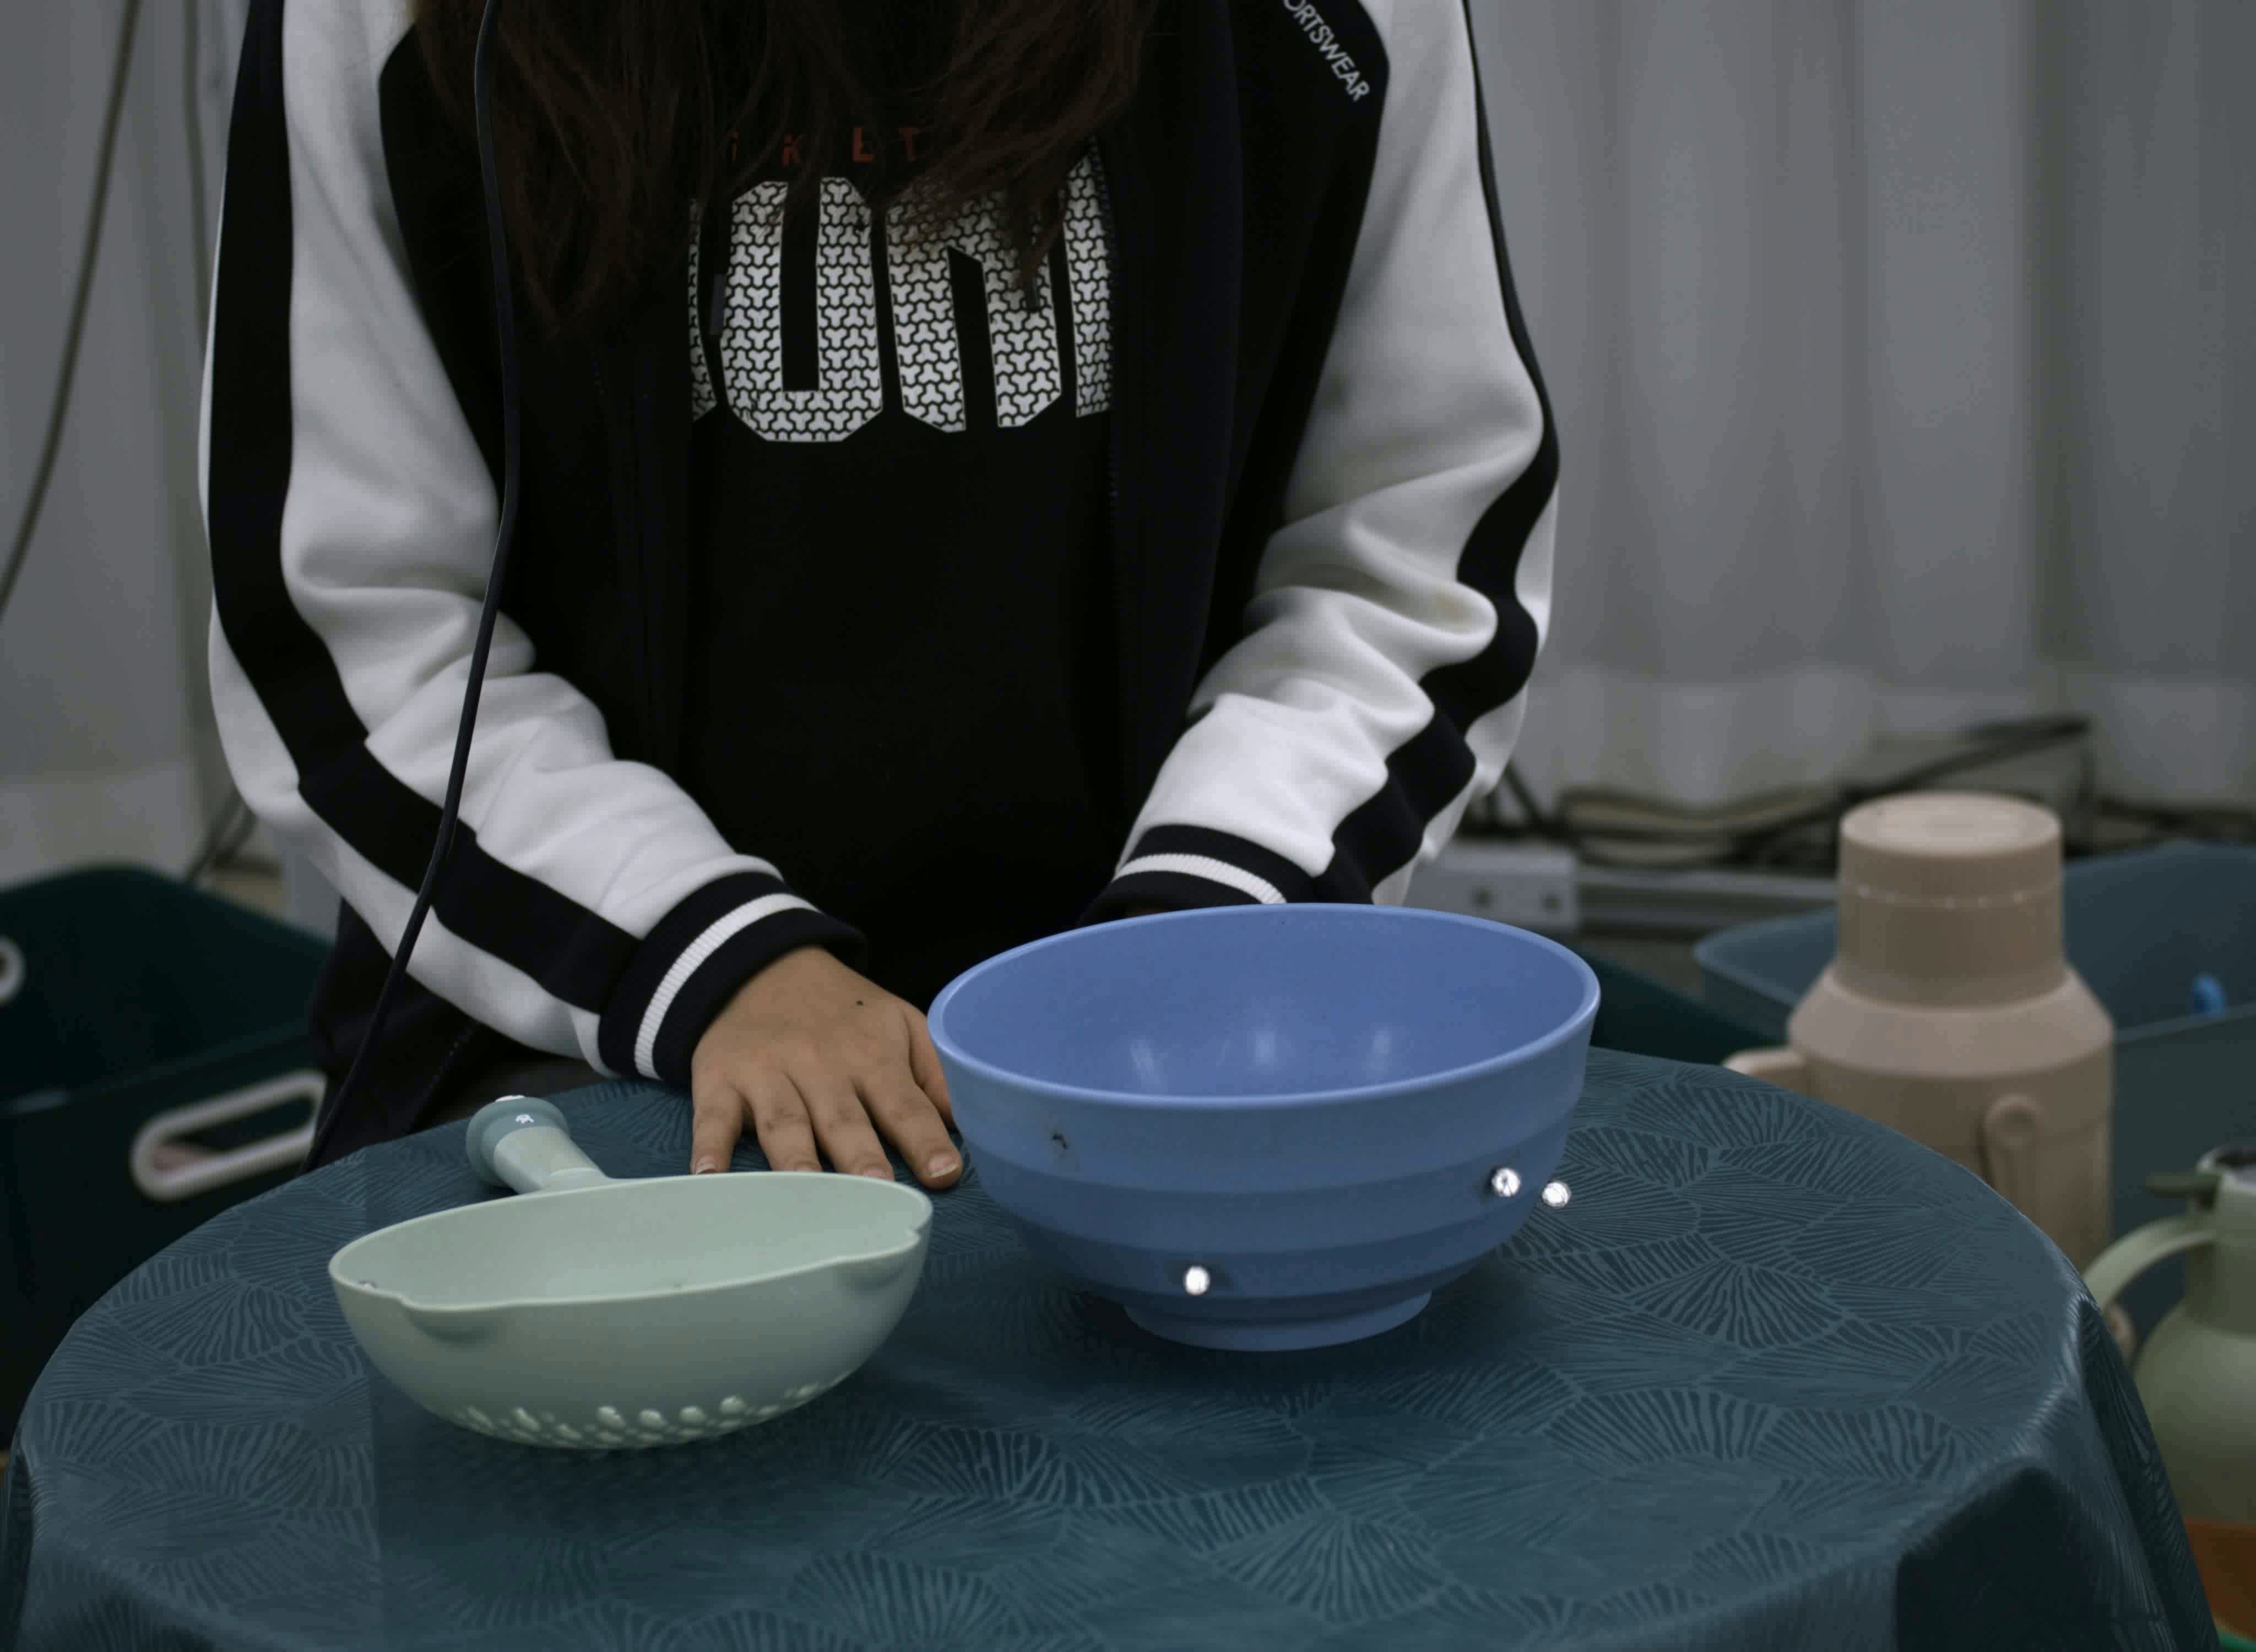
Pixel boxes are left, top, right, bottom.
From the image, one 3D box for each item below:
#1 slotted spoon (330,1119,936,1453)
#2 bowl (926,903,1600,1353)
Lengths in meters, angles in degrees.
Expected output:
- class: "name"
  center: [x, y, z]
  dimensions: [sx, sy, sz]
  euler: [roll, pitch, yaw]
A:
- class: "slotted spoon"
  center: [-0.160, 0.119, 1.617]
  dimensions: [0.168, 0.075, 0.361]
  euler: [-5, 13, -13]
- class: "bowl"
  center: [0.041, 0.094, 1.600]
  dimensions: [0.196, 0.095, 0.198]
  euler: [-3, 15, 1]
